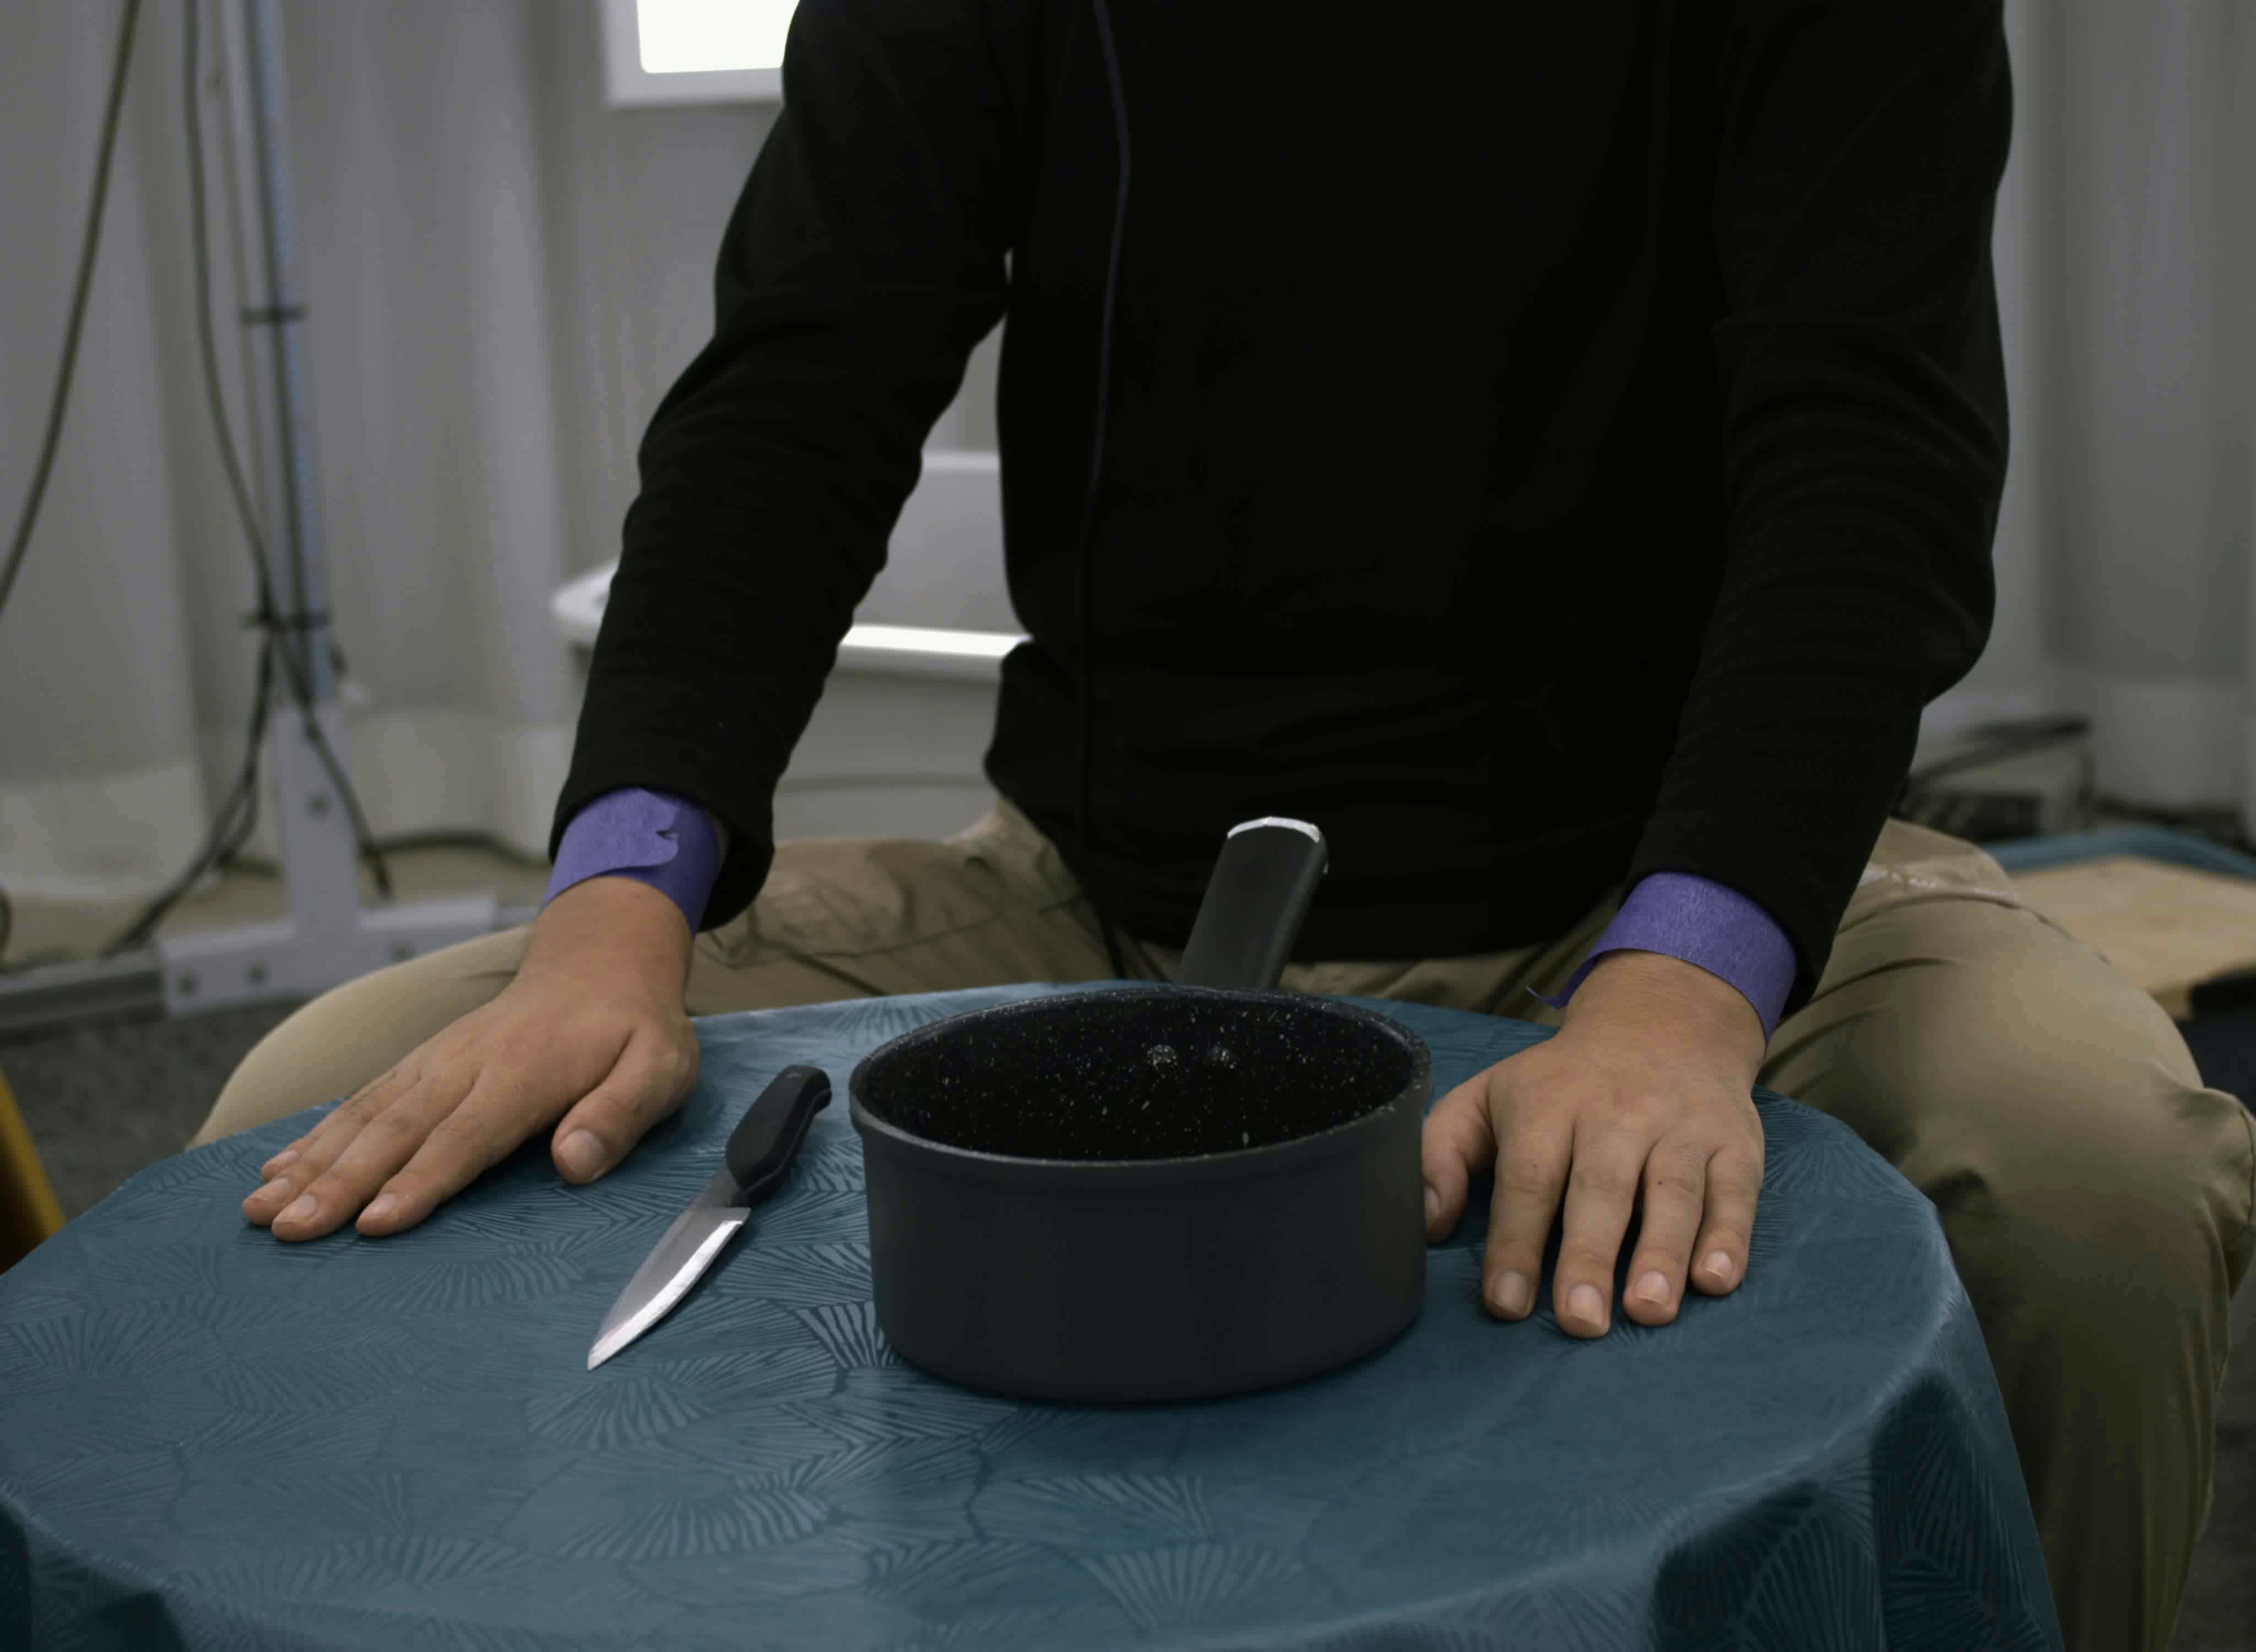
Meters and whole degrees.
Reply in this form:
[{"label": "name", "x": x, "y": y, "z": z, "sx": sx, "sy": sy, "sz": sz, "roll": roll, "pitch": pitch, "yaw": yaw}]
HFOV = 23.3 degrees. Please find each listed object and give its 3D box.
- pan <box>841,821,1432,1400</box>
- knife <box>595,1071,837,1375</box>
[{"label": "pan", "x": 0.023, "y": 0.083, "z": 1.669, "sx": 0.172, "sy": 0.086, "sz": 0.330, "roll": 1, "pitch": 16, "yaw": 15}, {"label": "knife", "x": -0.130, "y": 0.122, "z": 1.691, "sx": 0.024, "sy": 0.016, "sz": 0.239, "roll": 2, "pitch": 18, "yaw": 12}]
